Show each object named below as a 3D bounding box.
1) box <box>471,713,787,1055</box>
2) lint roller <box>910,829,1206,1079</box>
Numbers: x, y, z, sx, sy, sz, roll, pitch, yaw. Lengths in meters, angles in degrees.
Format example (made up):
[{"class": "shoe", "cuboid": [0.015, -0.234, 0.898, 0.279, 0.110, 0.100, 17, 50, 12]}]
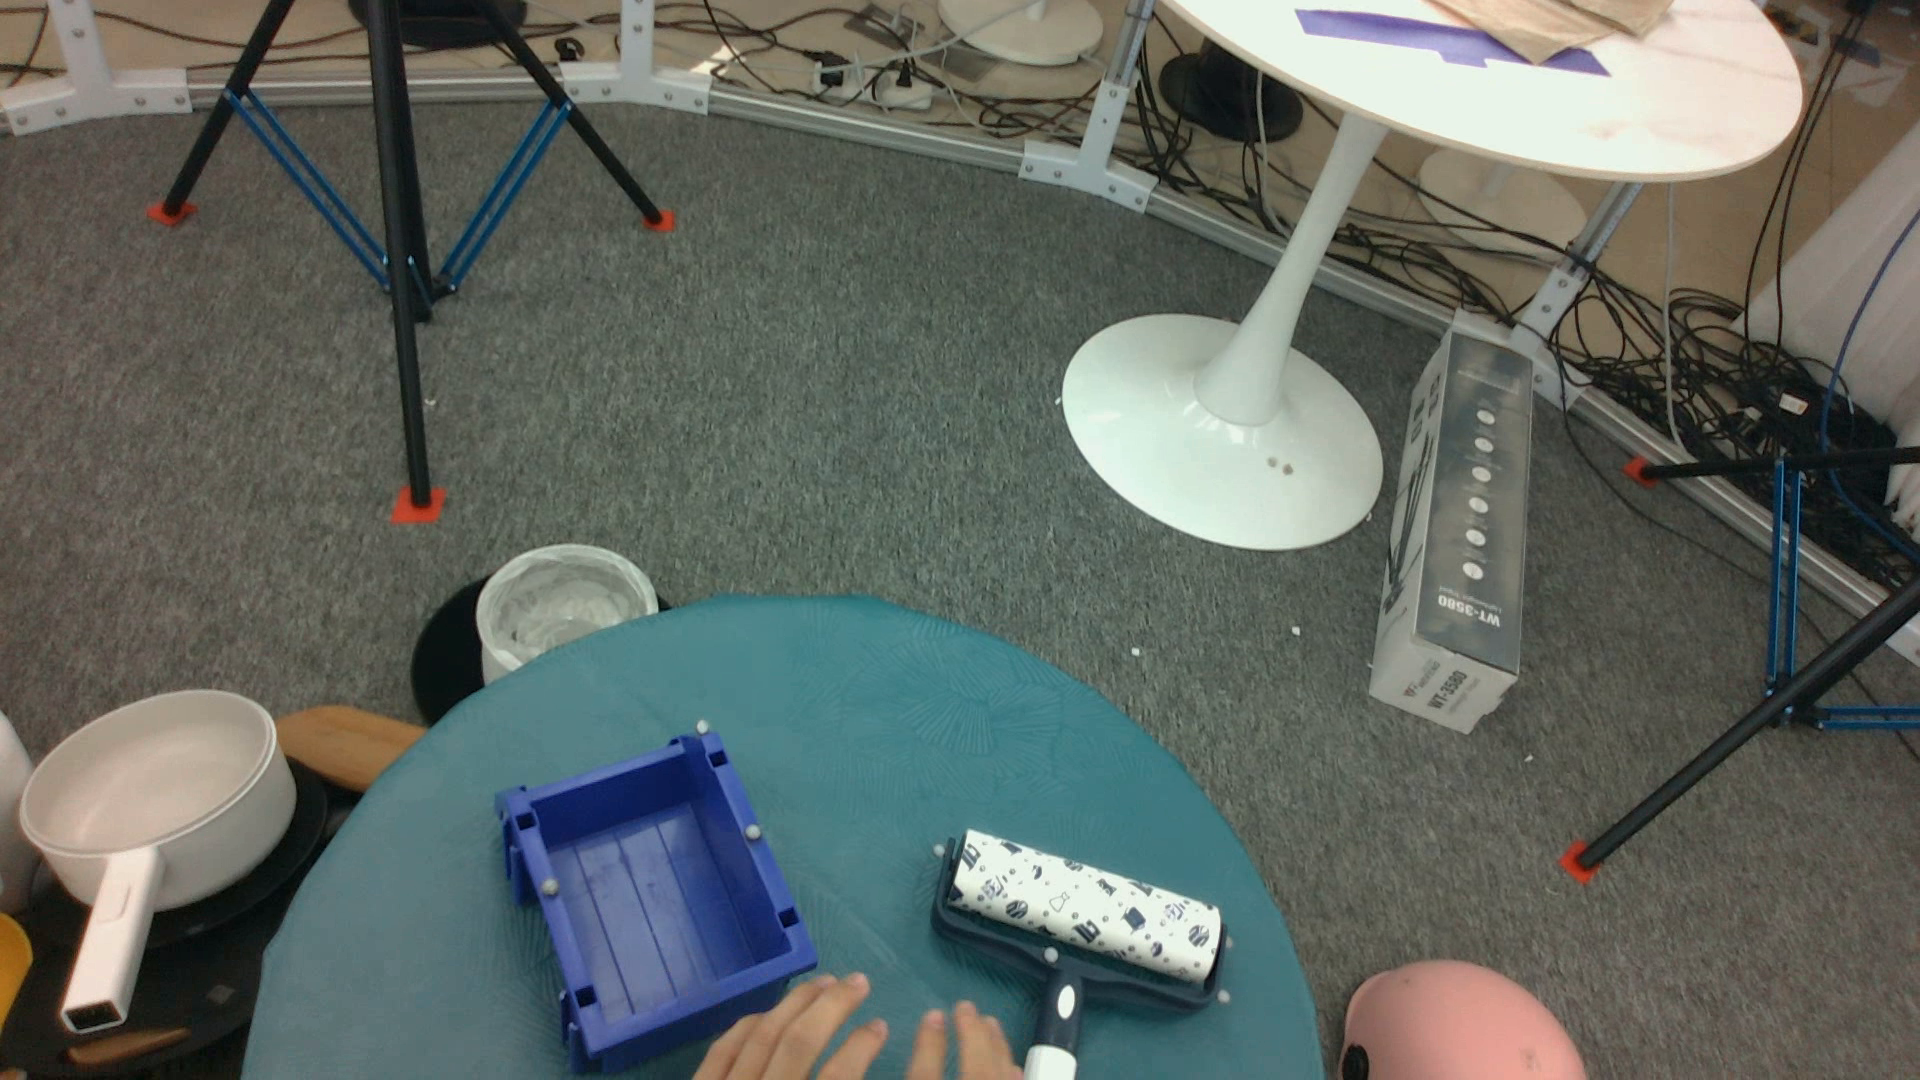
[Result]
[{"class": "box", "cuboid": [-0.191, 0.183, 0.764, 0.125, 0.081, 0.180, -14, 58, -26]}, {"class": "lint roller", "cuboid": [0.041, 0.292, 0.763, 0.176, 0.050, 0.248, 17, 48, -2]}]
